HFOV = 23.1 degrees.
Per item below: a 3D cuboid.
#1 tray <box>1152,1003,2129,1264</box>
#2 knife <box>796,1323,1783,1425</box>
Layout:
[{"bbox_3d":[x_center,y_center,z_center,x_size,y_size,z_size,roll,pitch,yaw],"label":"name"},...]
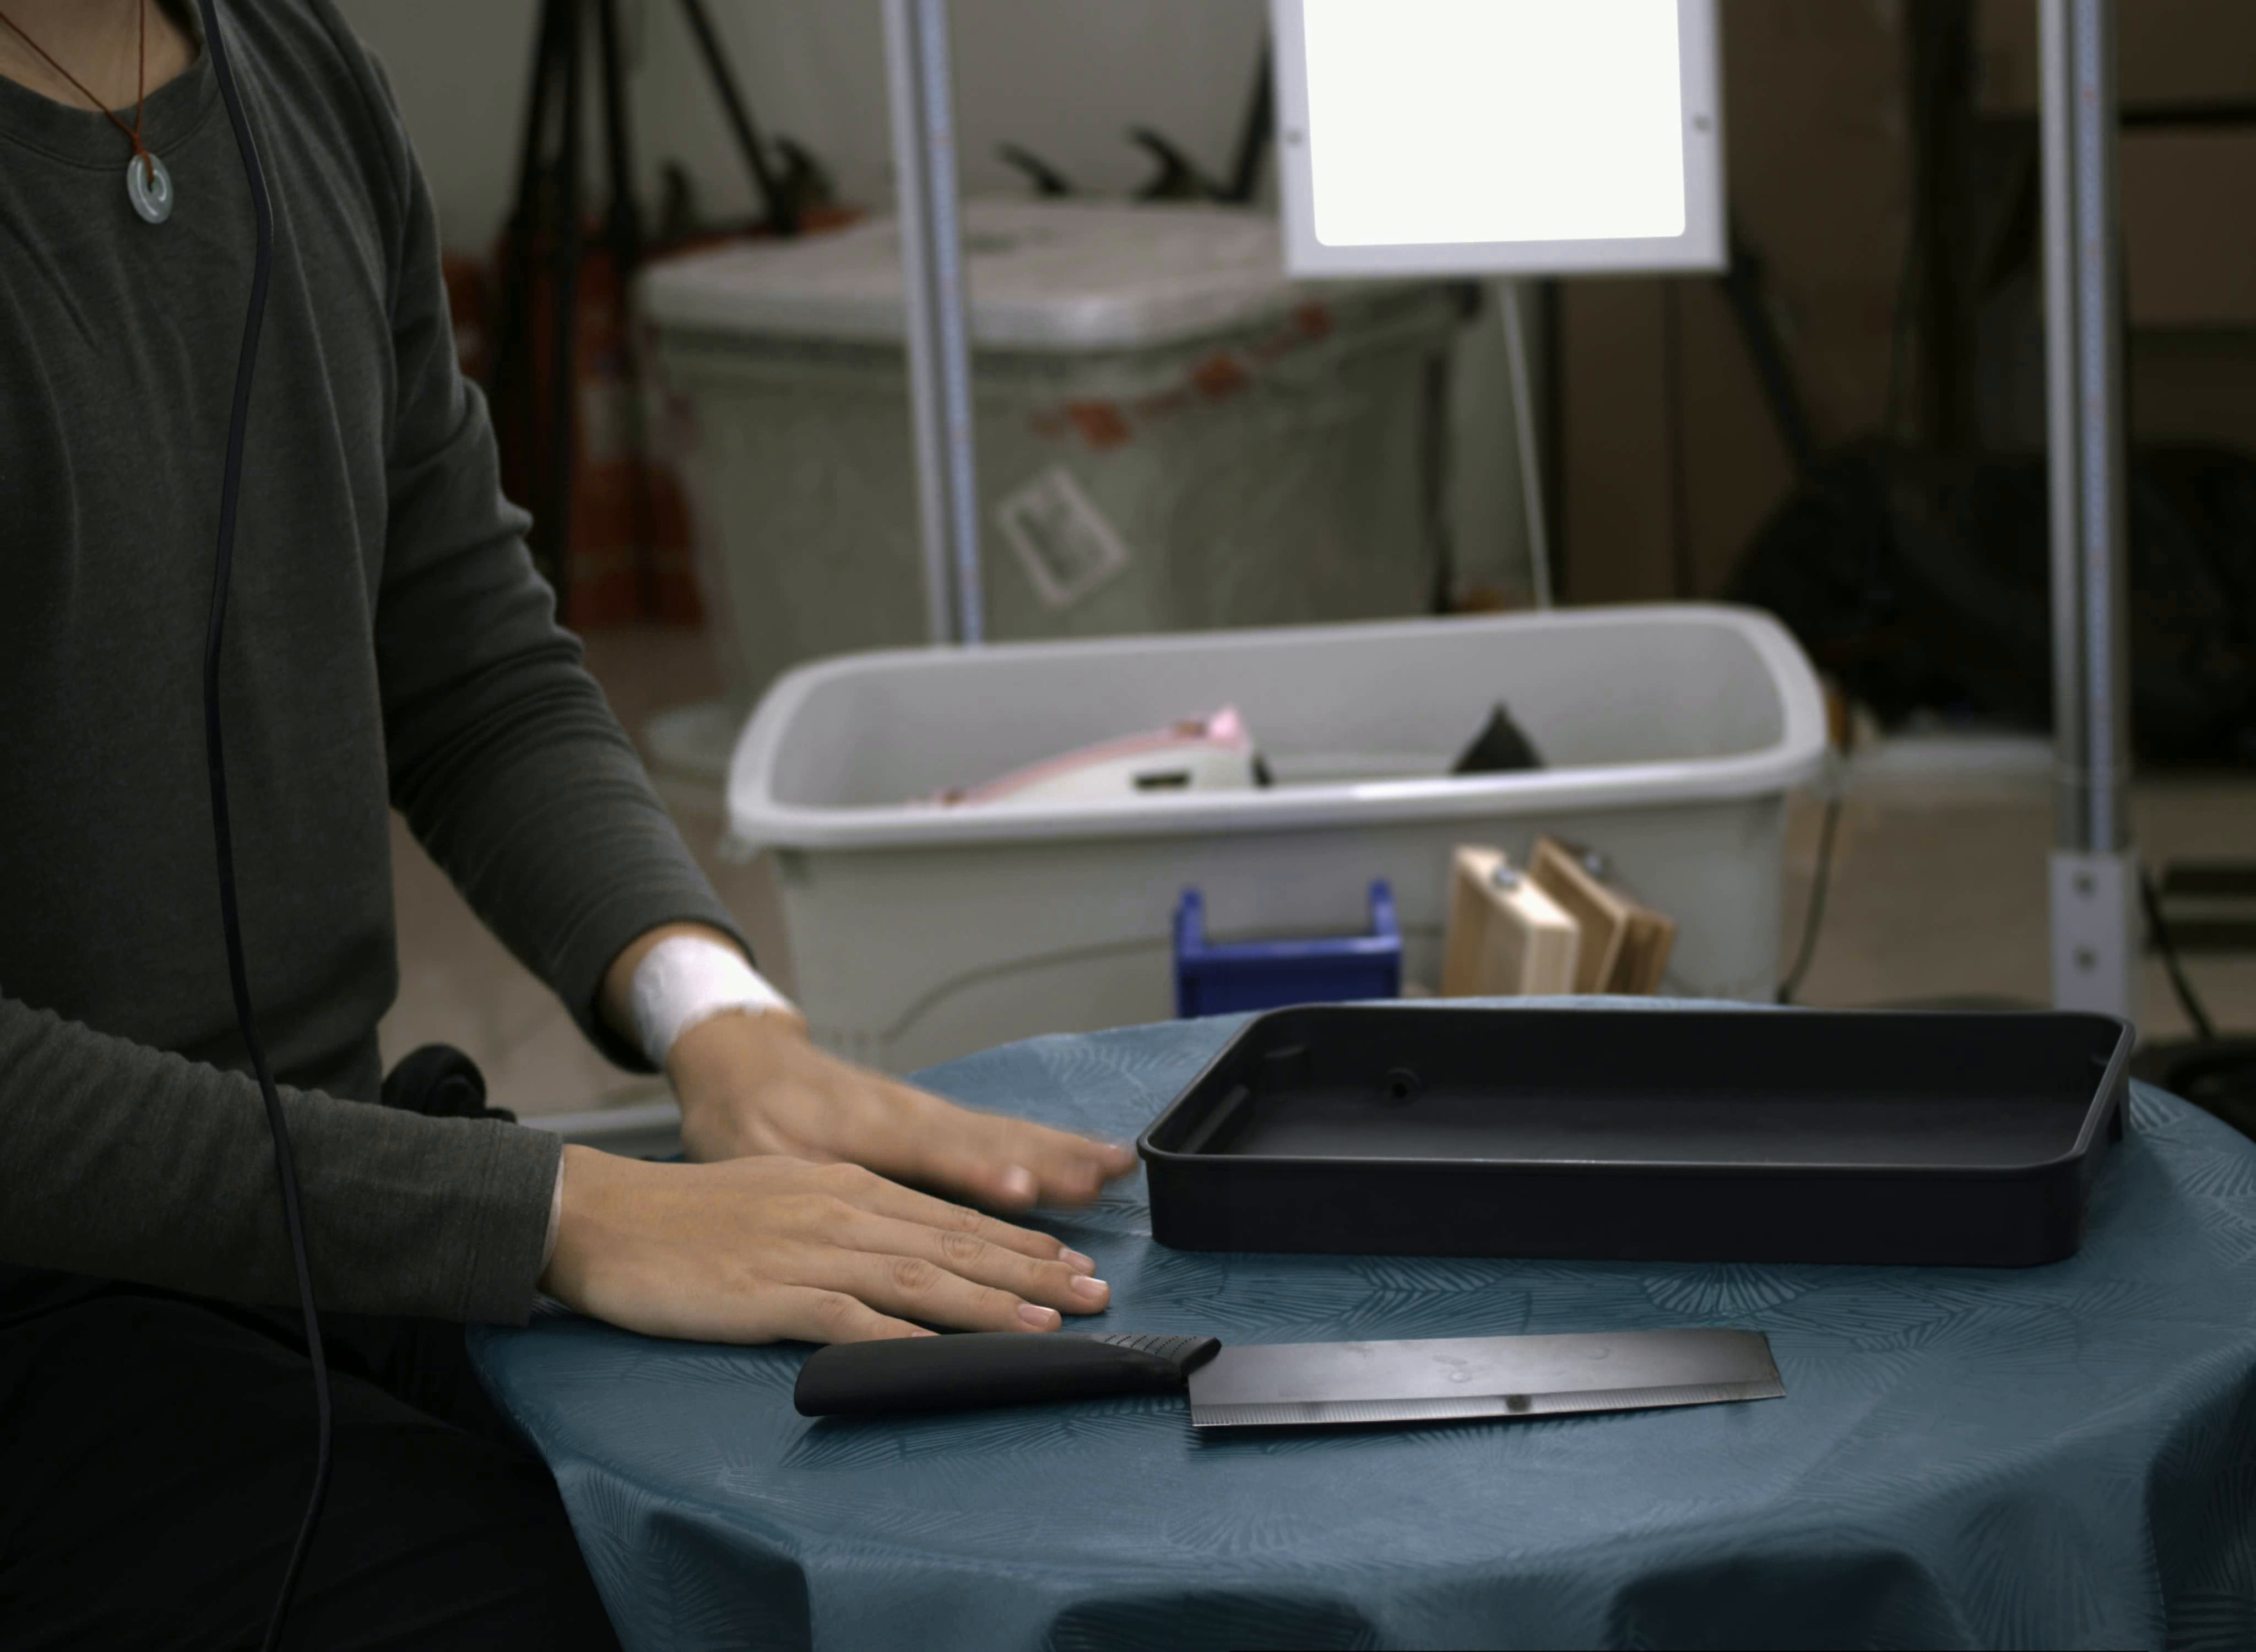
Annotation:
[{"bbox_3d":[0.180,0.102,1.861,0.321,0.037,0.181,-1,14,18],"label":"tray"},{"bbox_3d":[0.049,0.169,1.684,0.303,0.021,0.080,-2,15,7],"label":"knife"}]
